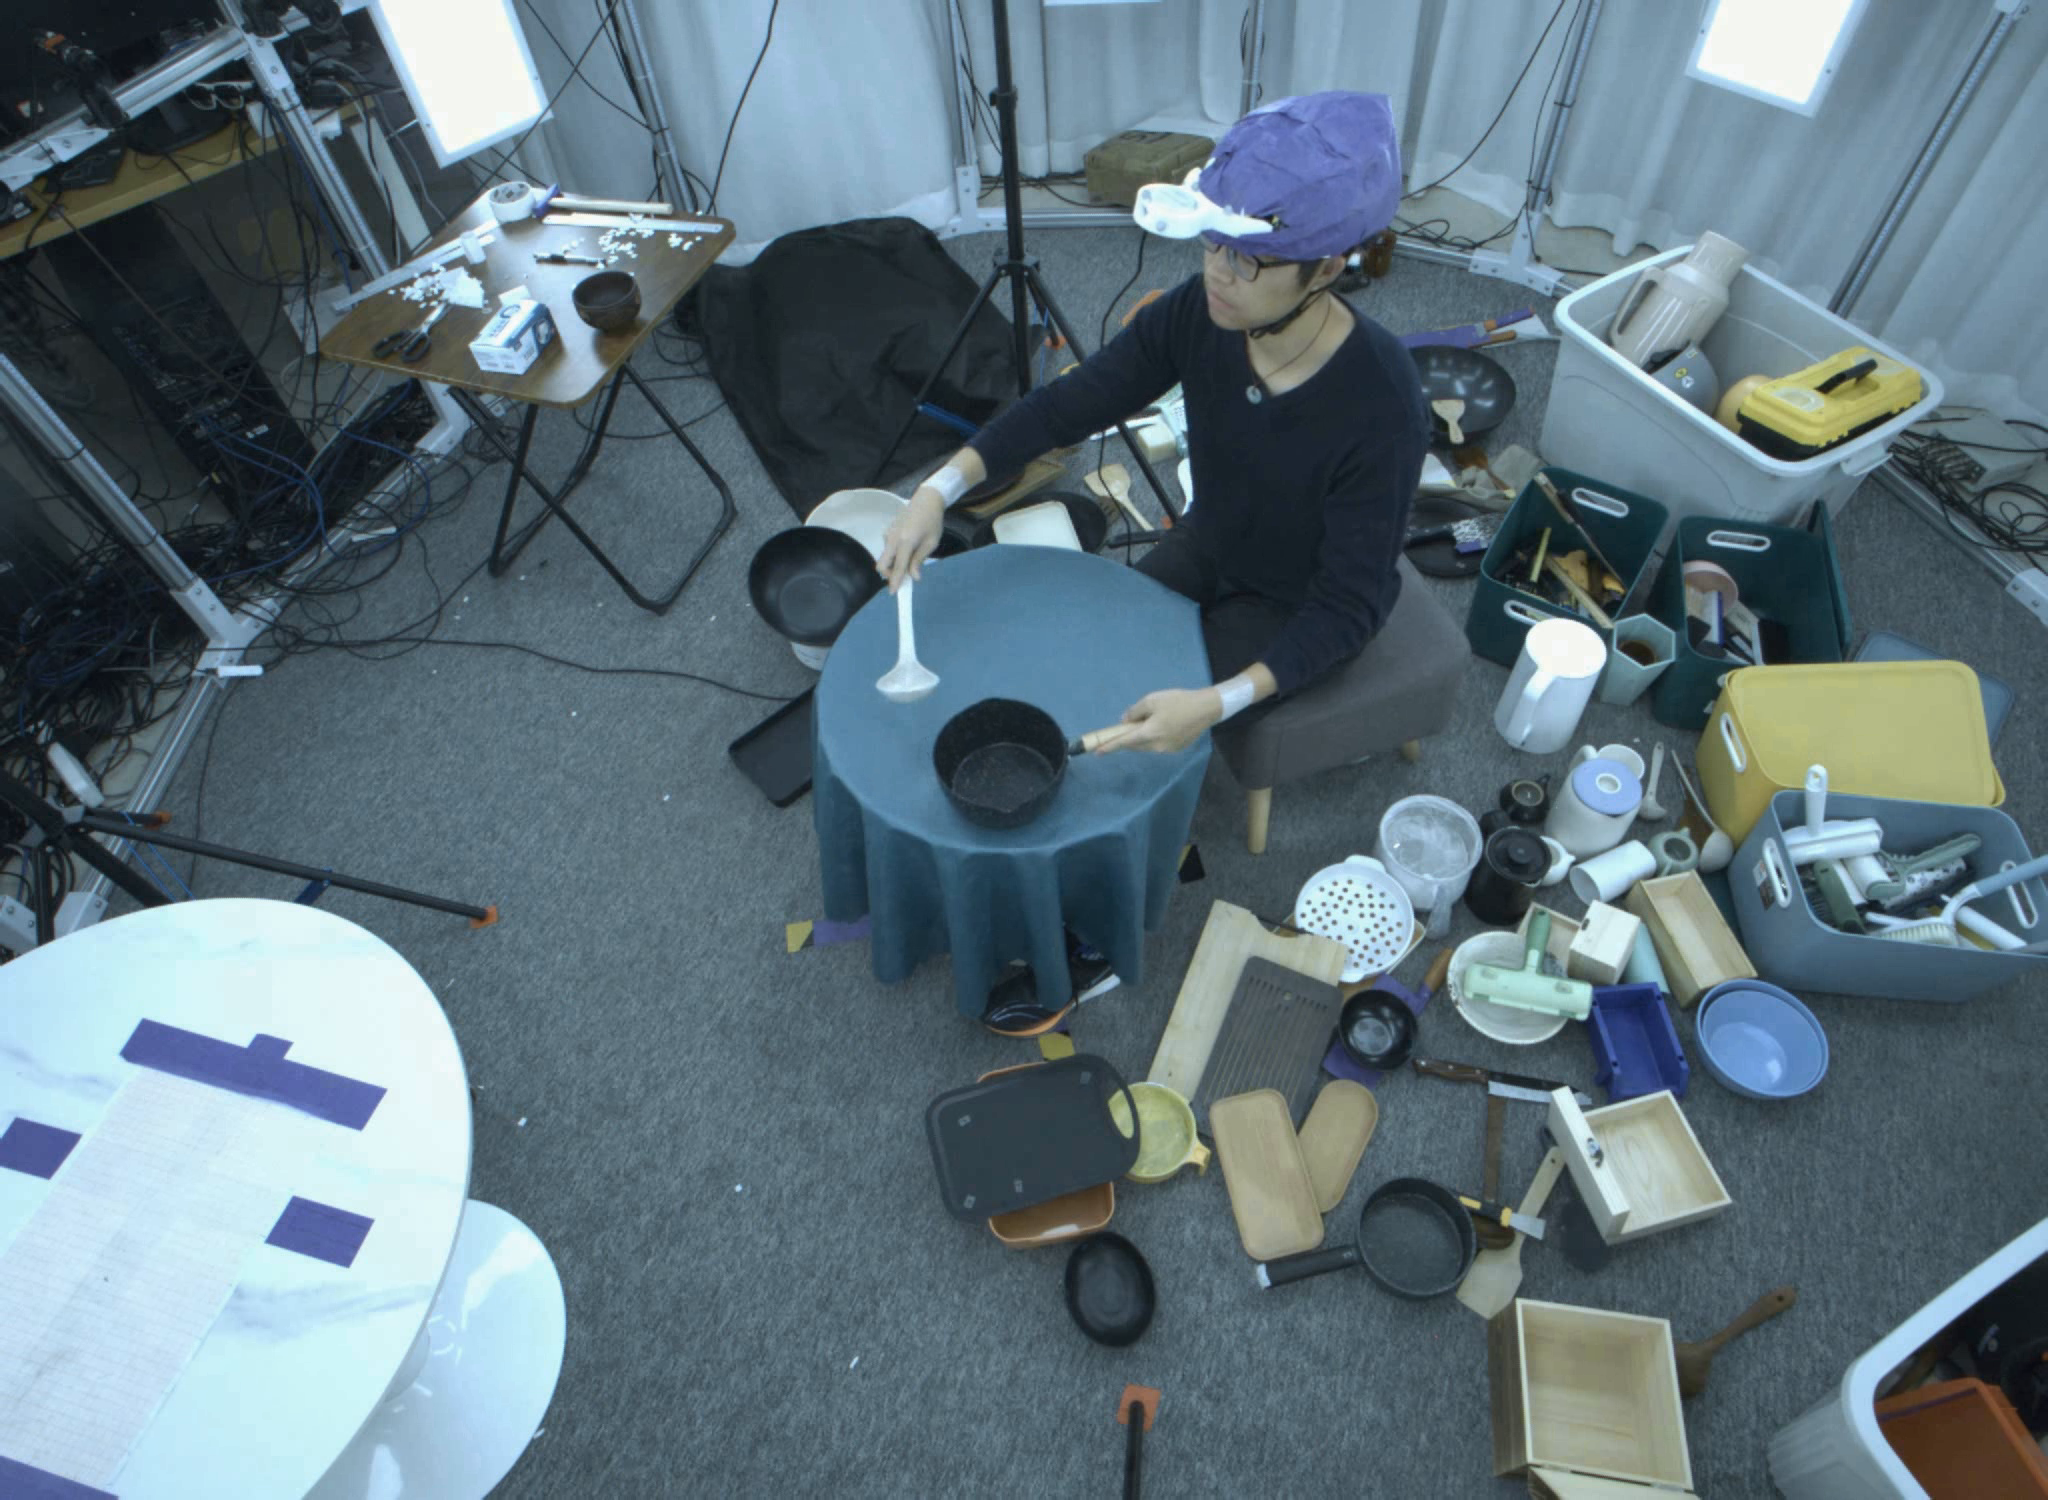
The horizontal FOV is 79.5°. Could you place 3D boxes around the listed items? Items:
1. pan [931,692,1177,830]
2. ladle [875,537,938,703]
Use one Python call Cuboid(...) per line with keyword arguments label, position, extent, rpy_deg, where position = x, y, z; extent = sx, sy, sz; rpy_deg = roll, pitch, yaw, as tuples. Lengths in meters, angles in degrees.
Cuboid(label="pan", position=(0.044, 0.004, 1.716), extent=(0.344, 0.109, 0.204), rpy_deg=(-11, 54, -3))
Cuboid(label="ladle", position=(-0.172, -0.198, 1.750), extent=(0.089, 0.070, 0.273), rpy_deg=(-5, 73, 2))
